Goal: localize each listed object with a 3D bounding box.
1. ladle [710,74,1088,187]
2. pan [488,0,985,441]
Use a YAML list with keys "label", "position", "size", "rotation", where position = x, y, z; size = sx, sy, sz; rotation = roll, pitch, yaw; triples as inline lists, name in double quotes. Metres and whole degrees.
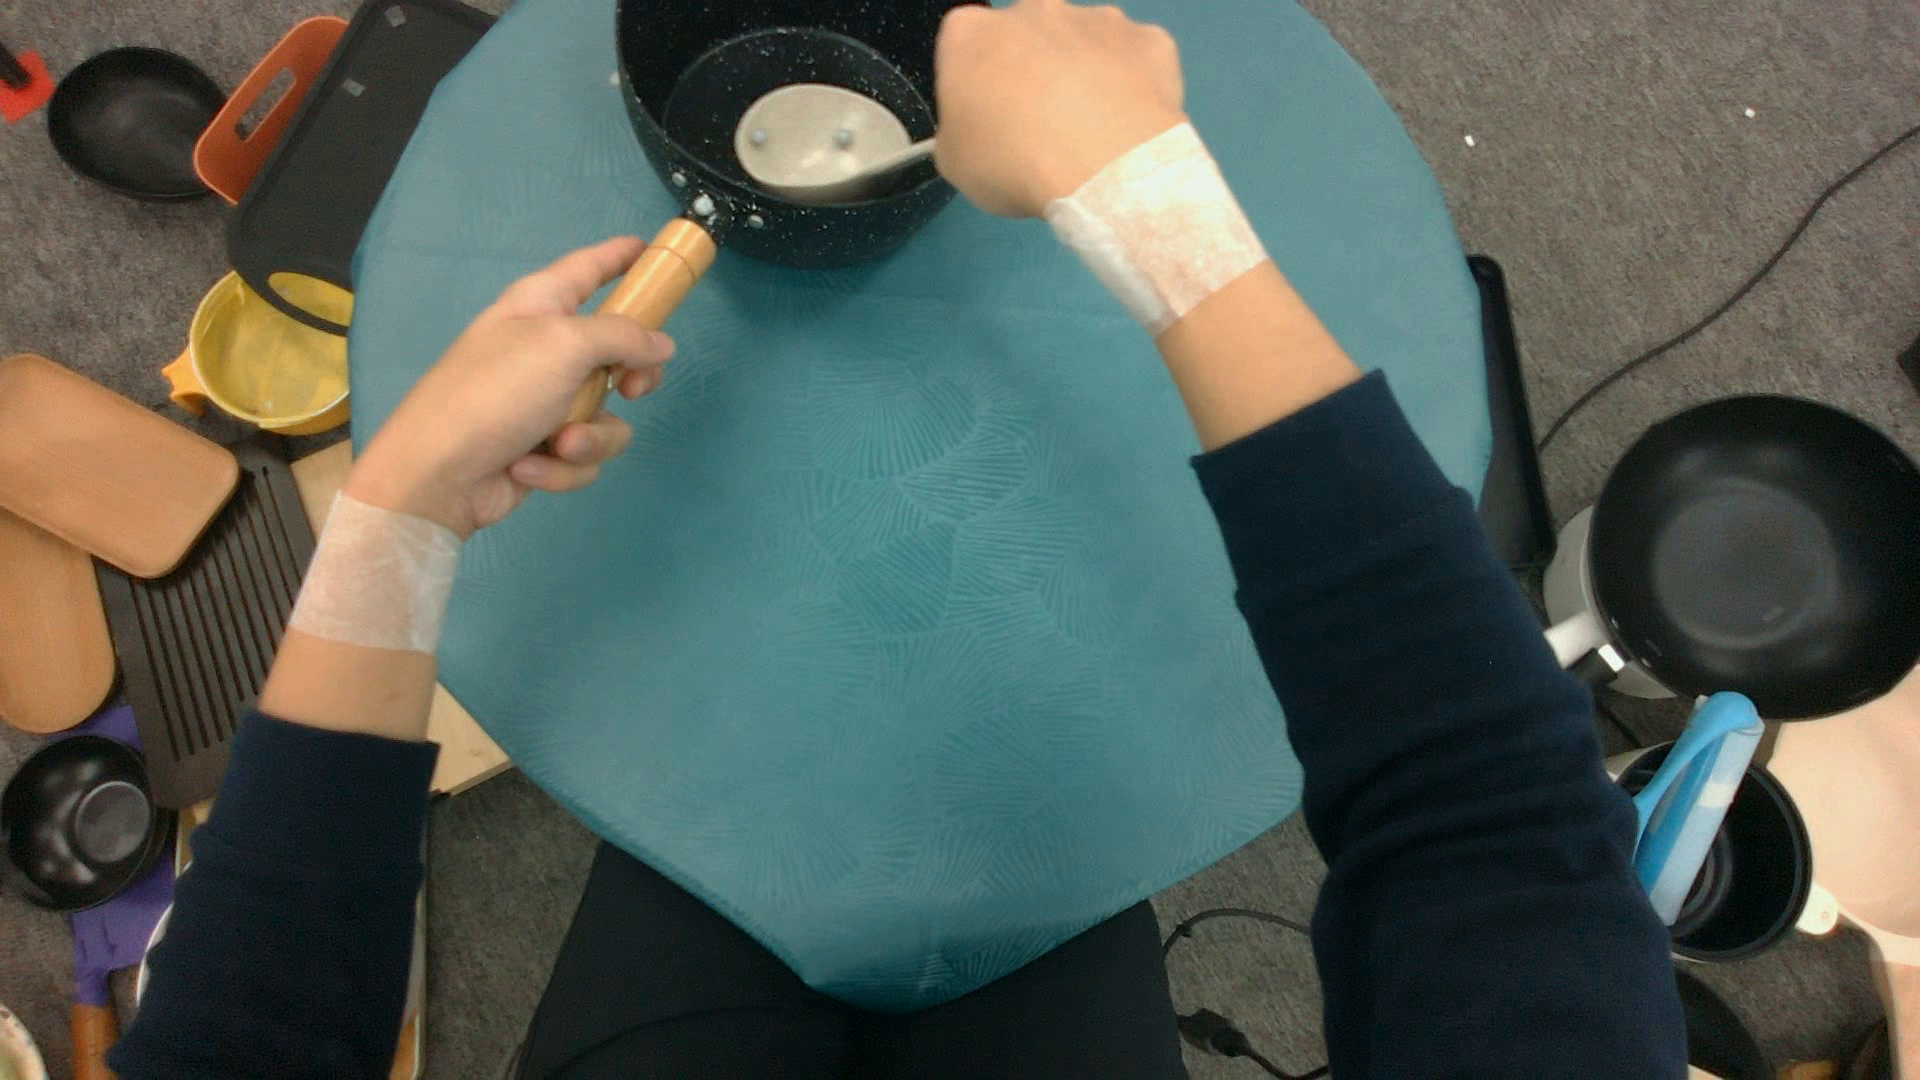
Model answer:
- label: "ladle"
  position: [-0.031, -0.196, 0.602]
  size: [0.089, 0.274, 0.069]
  rotation: [-17, 102, -26]
- label: "pan"
  position: [-0.115, -0.167, 0.651]
  size: [0.207, 0.108, 0.344]
  rotation: [26, 65, -2]
